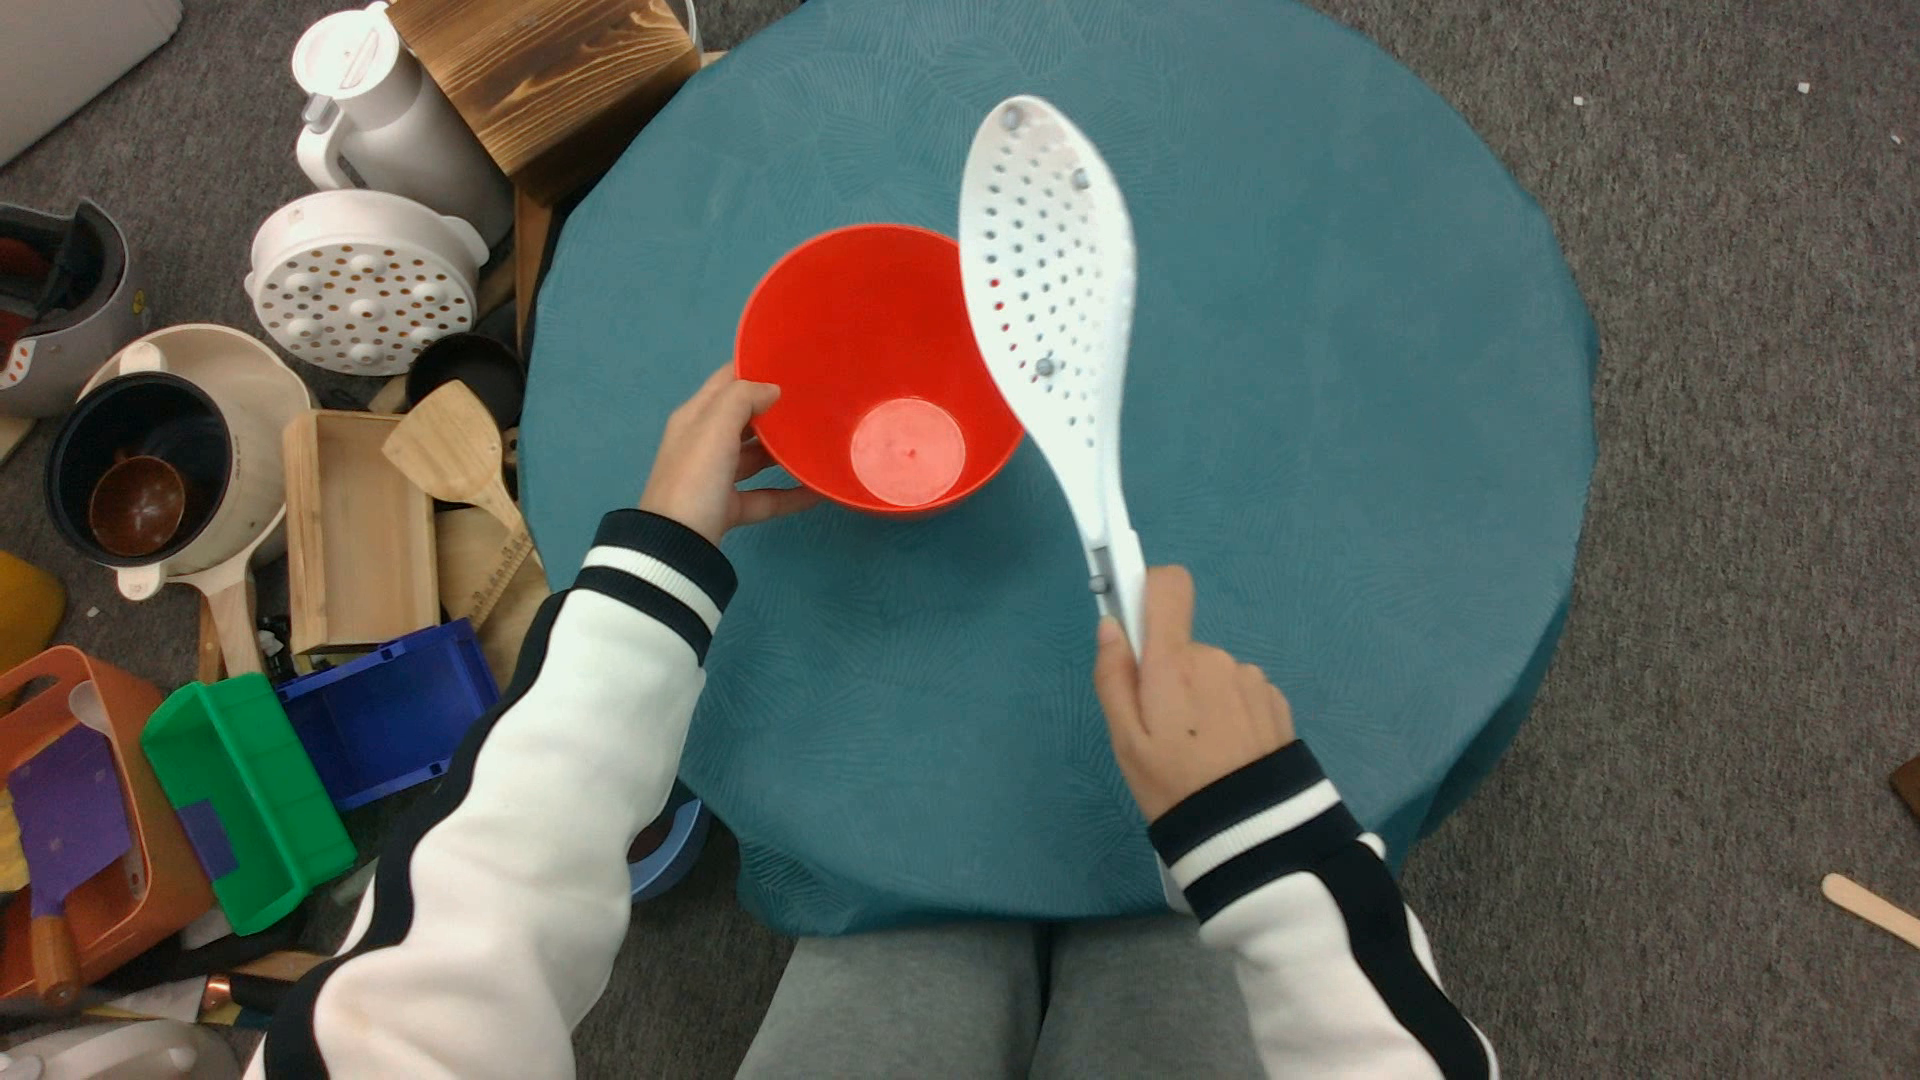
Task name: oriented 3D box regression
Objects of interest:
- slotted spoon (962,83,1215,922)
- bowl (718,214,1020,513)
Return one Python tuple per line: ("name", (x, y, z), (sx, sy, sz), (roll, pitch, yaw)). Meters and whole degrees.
("slotted spoon", (0.065, -0.015, 0.577), (0.046, 0.135, 0.350), (-3, 84, -33))
("bowl", (-0.045, -0.077, 0.706), (0.148, 0.104, 0.148), (1, 69, -3))
